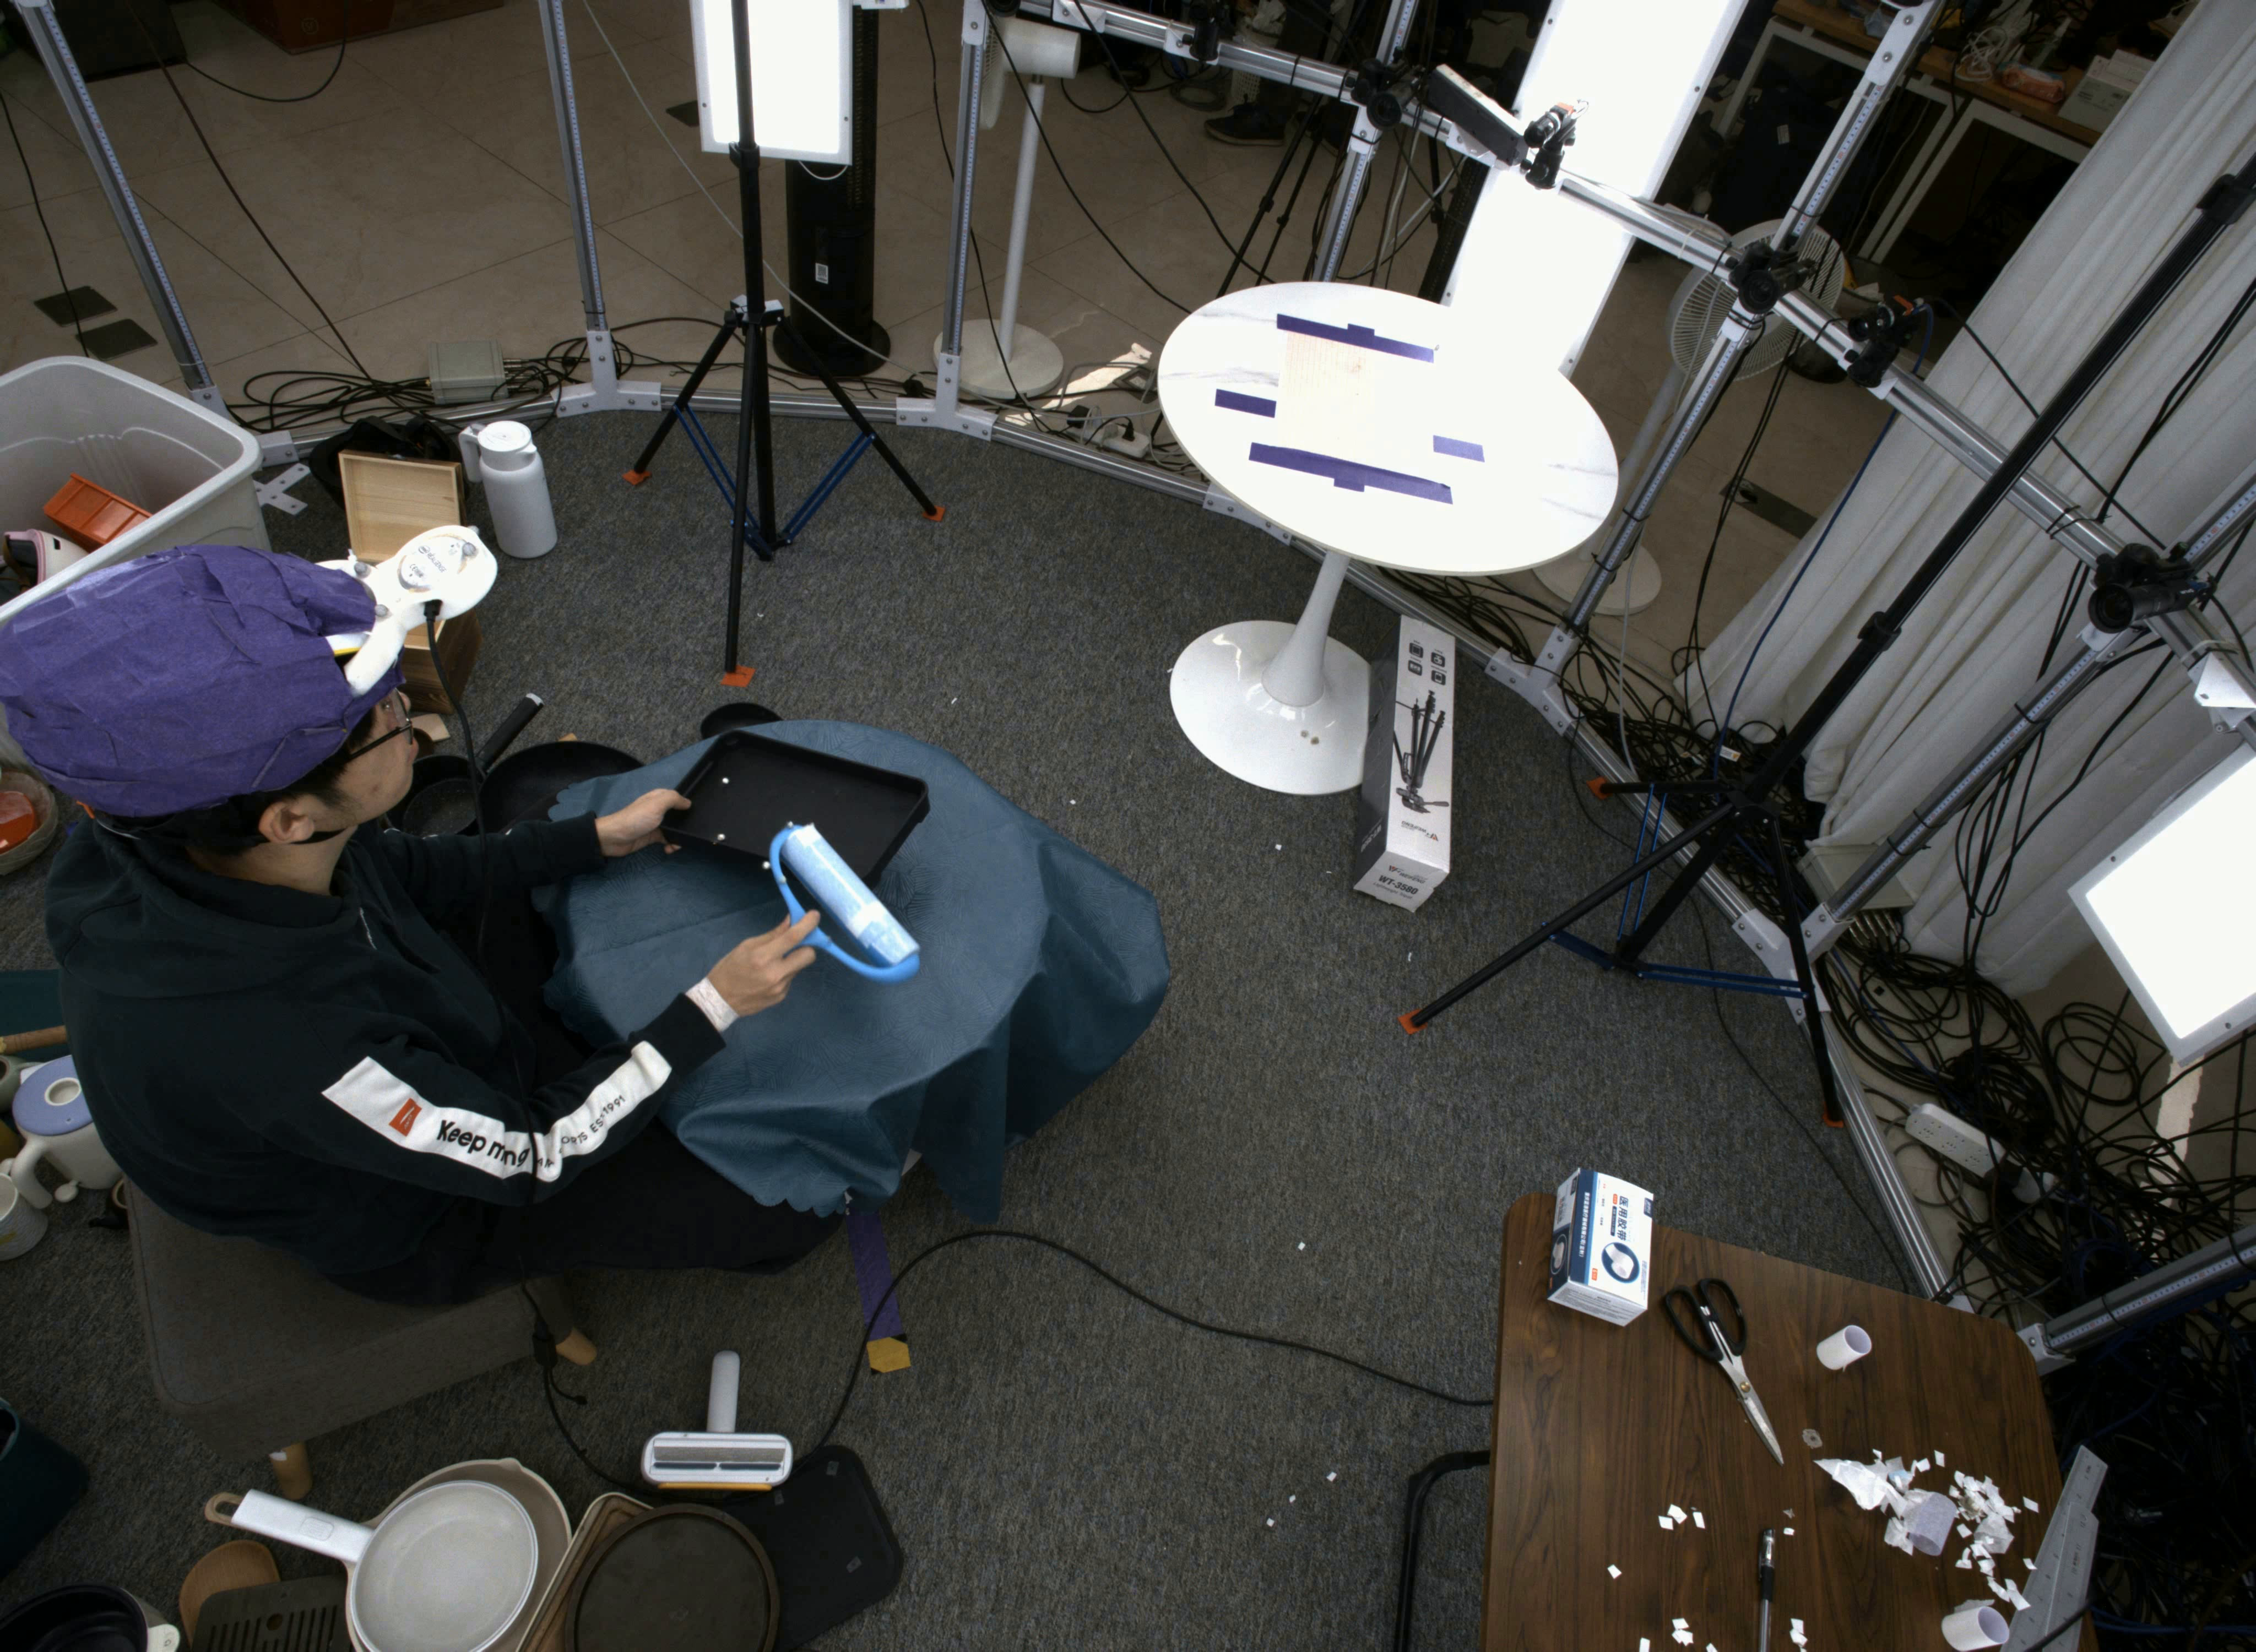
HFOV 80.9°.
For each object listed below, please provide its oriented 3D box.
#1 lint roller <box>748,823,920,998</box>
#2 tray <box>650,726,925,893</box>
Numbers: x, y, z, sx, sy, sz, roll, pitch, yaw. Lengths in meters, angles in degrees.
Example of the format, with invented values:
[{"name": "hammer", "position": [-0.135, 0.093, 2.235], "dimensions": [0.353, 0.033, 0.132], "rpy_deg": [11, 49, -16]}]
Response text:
[{"name": "lint roller", "position": [-0.364, 0.125, 1.478], "dimensions": [0.228, 0.068, 0.180], "rpy_deg": [45, 77, 3]}, {"name": "tray", "position": [-0.430, -0.022, 1.639], "dimensions": [0.310, 0.038, 0.183], "rpy_deg": [15, 52, 13]}]
